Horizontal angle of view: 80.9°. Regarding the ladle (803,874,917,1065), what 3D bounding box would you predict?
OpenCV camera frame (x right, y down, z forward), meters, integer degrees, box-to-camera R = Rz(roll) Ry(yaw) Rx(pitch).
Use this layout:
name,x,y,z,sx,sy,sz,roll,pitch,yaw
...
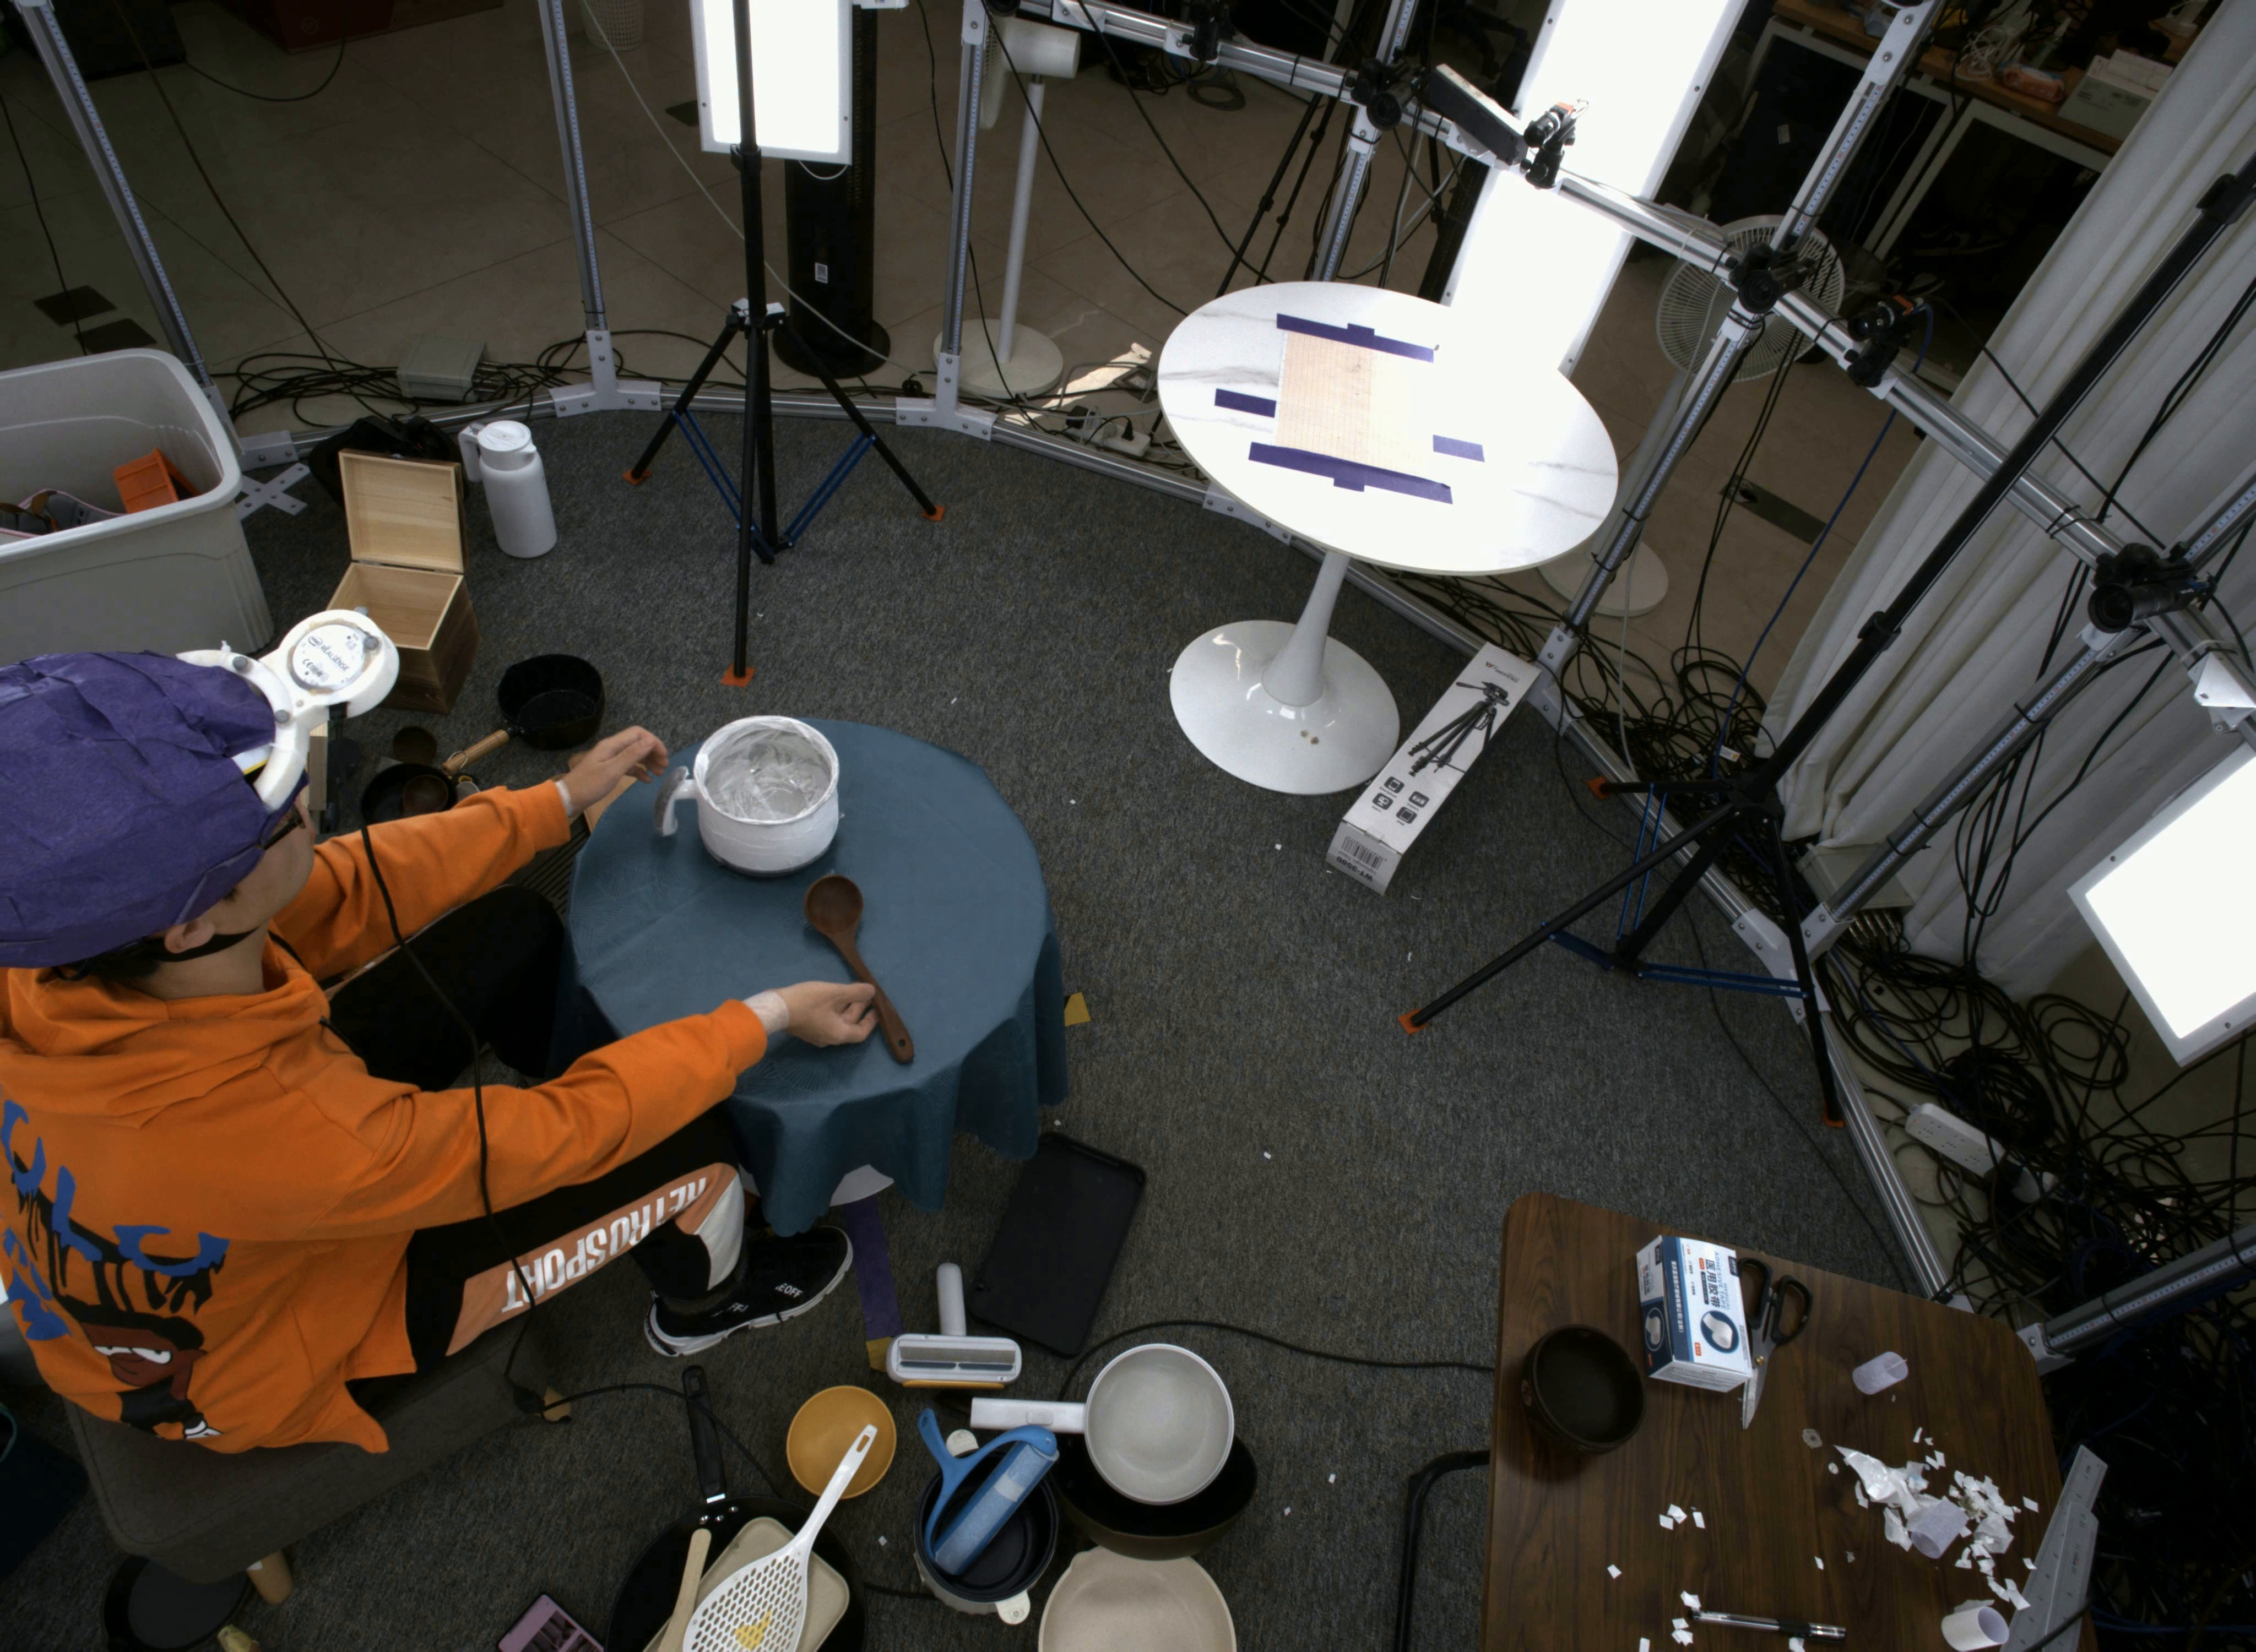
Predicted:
name,x,y,z,sx,sy,sz,roll,pitch,yaw
ladle,-0.319,0.168,1.574,0.077,0.066,0.254,-22,62,-24

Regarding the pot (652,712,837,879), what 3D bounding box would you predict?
name,x,y,z,sx,sy,sz,roll,pitch,yaw
pot,-0.485,-0.033,1.633,0.234,0.139,0.174,-4,54,-18
